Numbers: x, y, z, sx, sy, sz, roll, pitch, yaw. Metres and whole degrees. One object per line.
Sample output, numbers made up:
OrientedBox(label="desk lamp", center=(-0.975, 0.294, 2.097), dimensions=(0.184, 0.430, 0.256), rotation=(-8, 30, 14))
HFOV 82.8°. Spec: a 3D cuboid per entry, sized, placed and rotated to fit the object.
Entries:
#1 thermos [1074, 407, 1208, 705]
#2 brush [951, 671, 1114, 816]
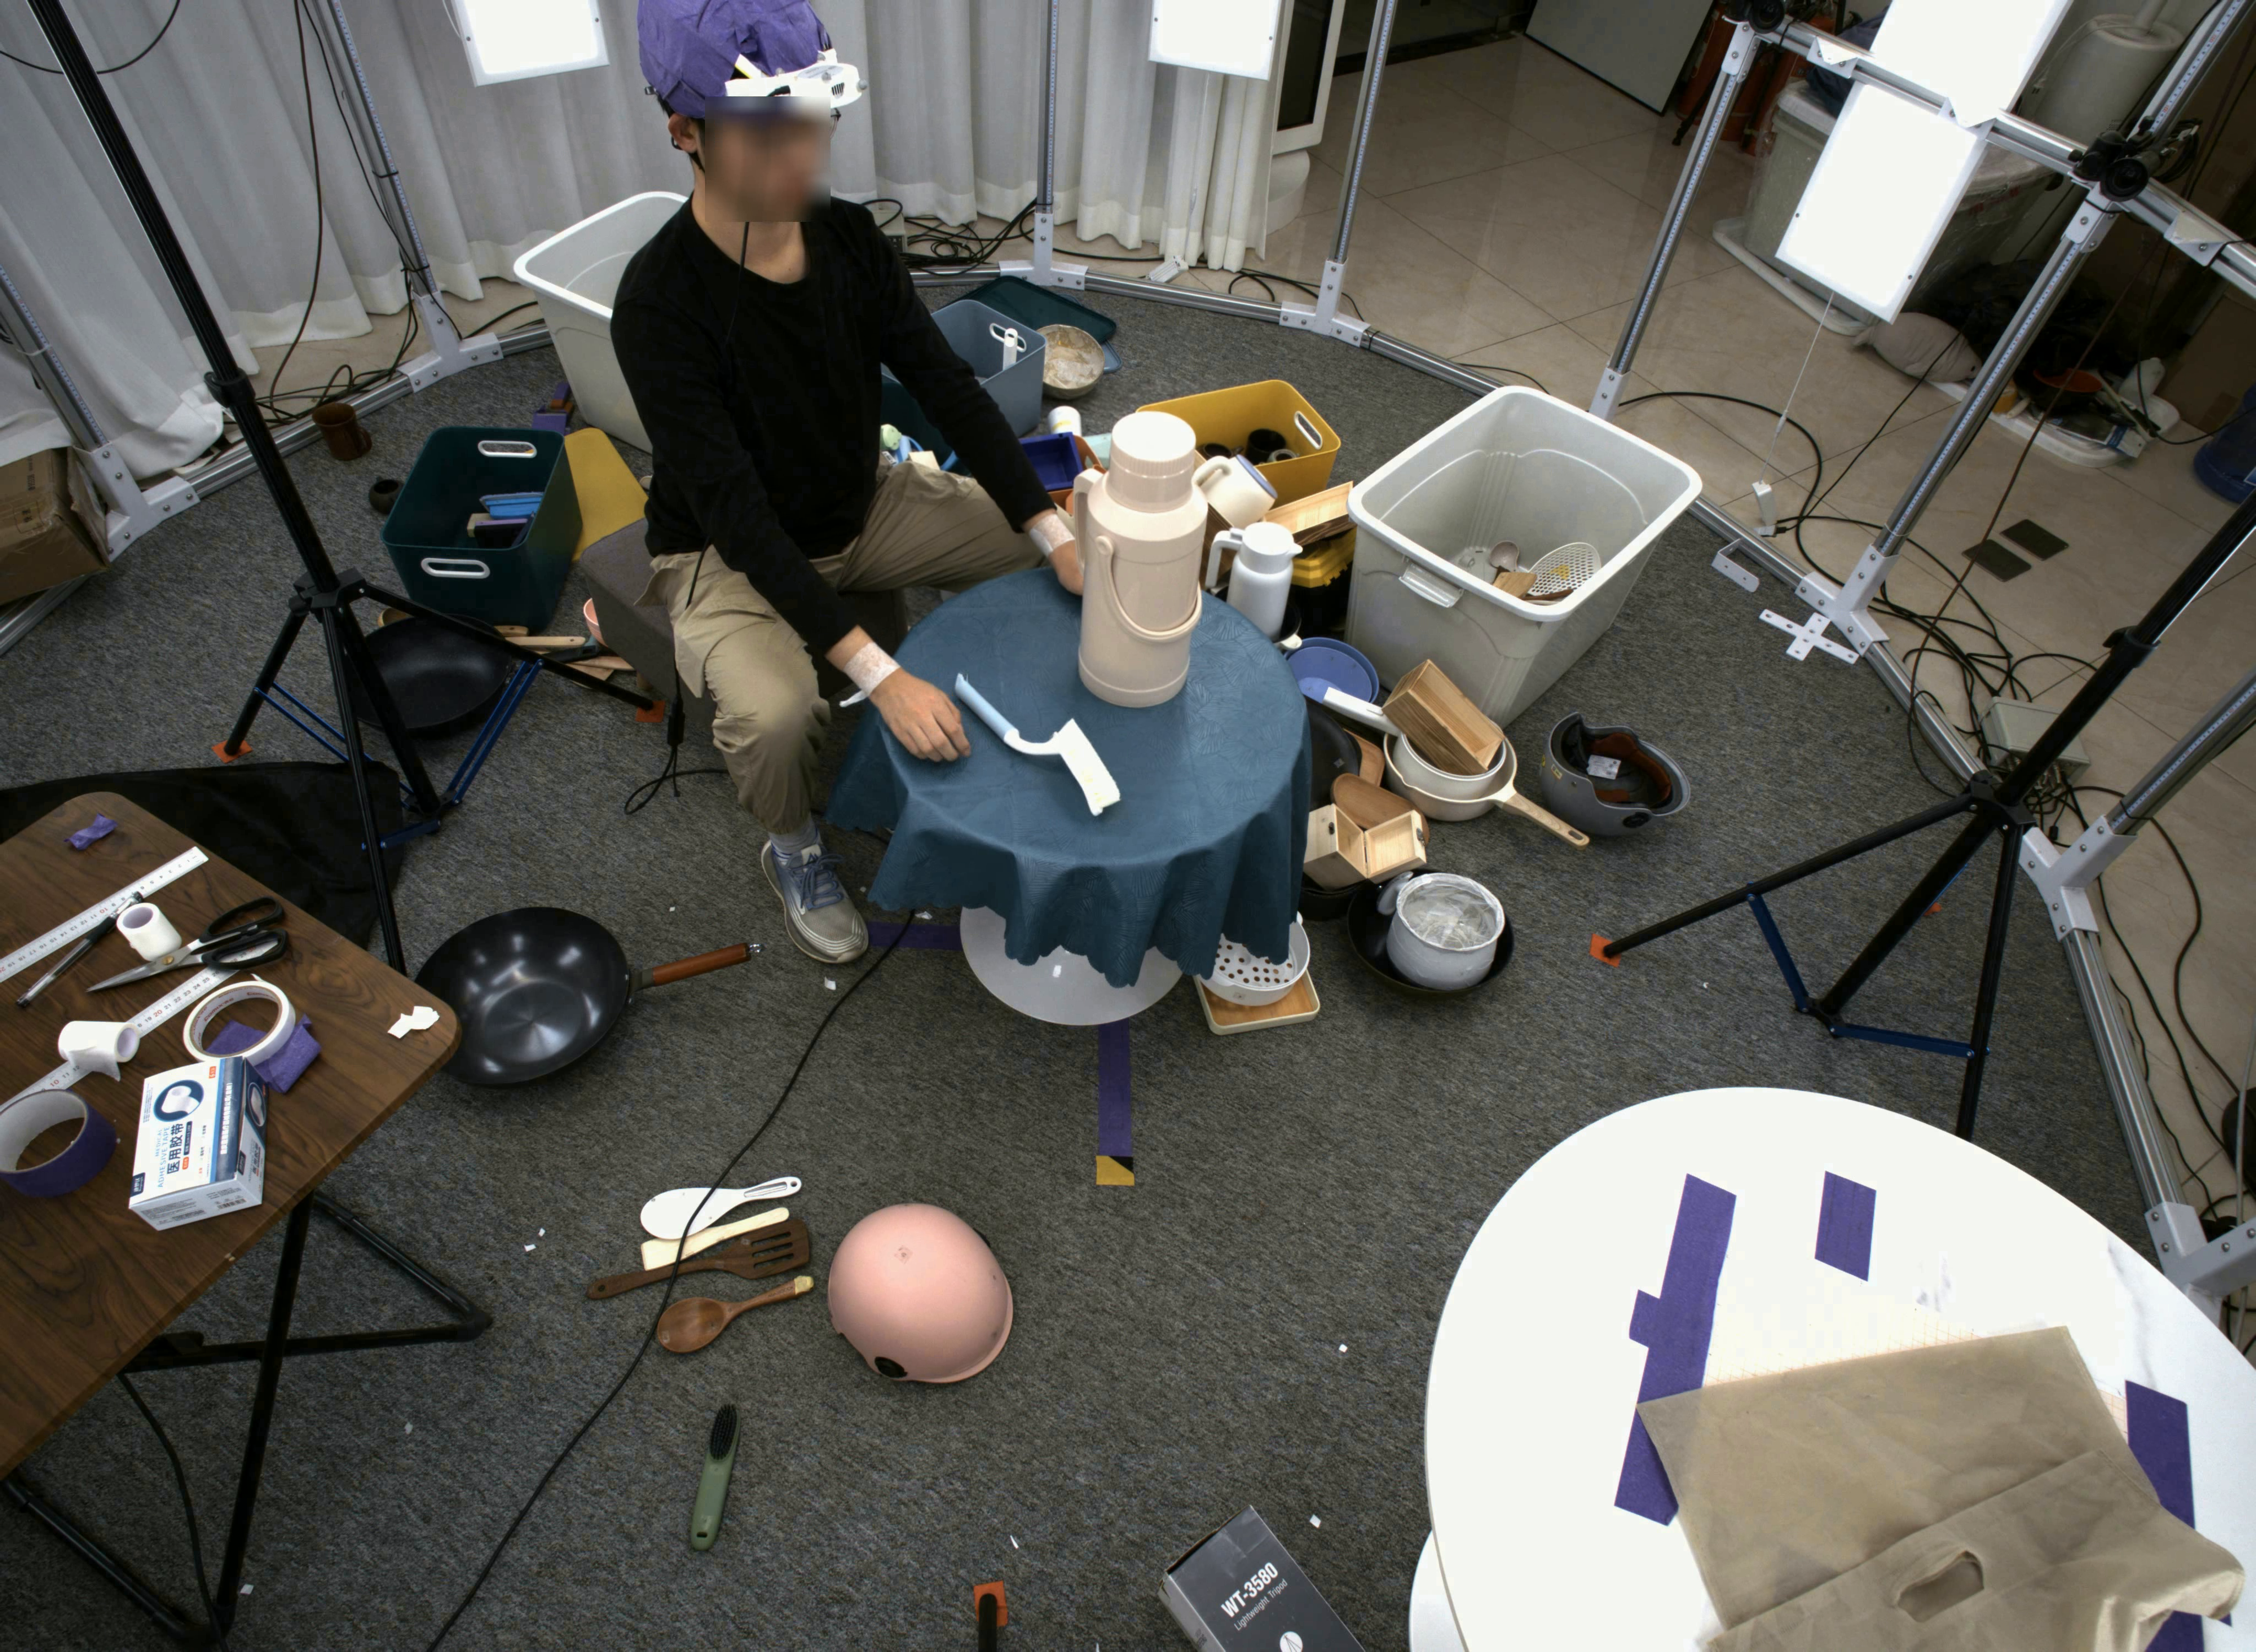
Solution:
OrientedBox(label="thermos", center=(0.010, -0.364, 1.730), dimensions=(0.209, 0.396, 0.177), rotation=(34, 57, 22))
OrientedBox(label="brush", center=(-0.122, -0.138, 1.735), dimensions=(0.085, 0.081, 0.331), rotation=(-21, 51, -36))
